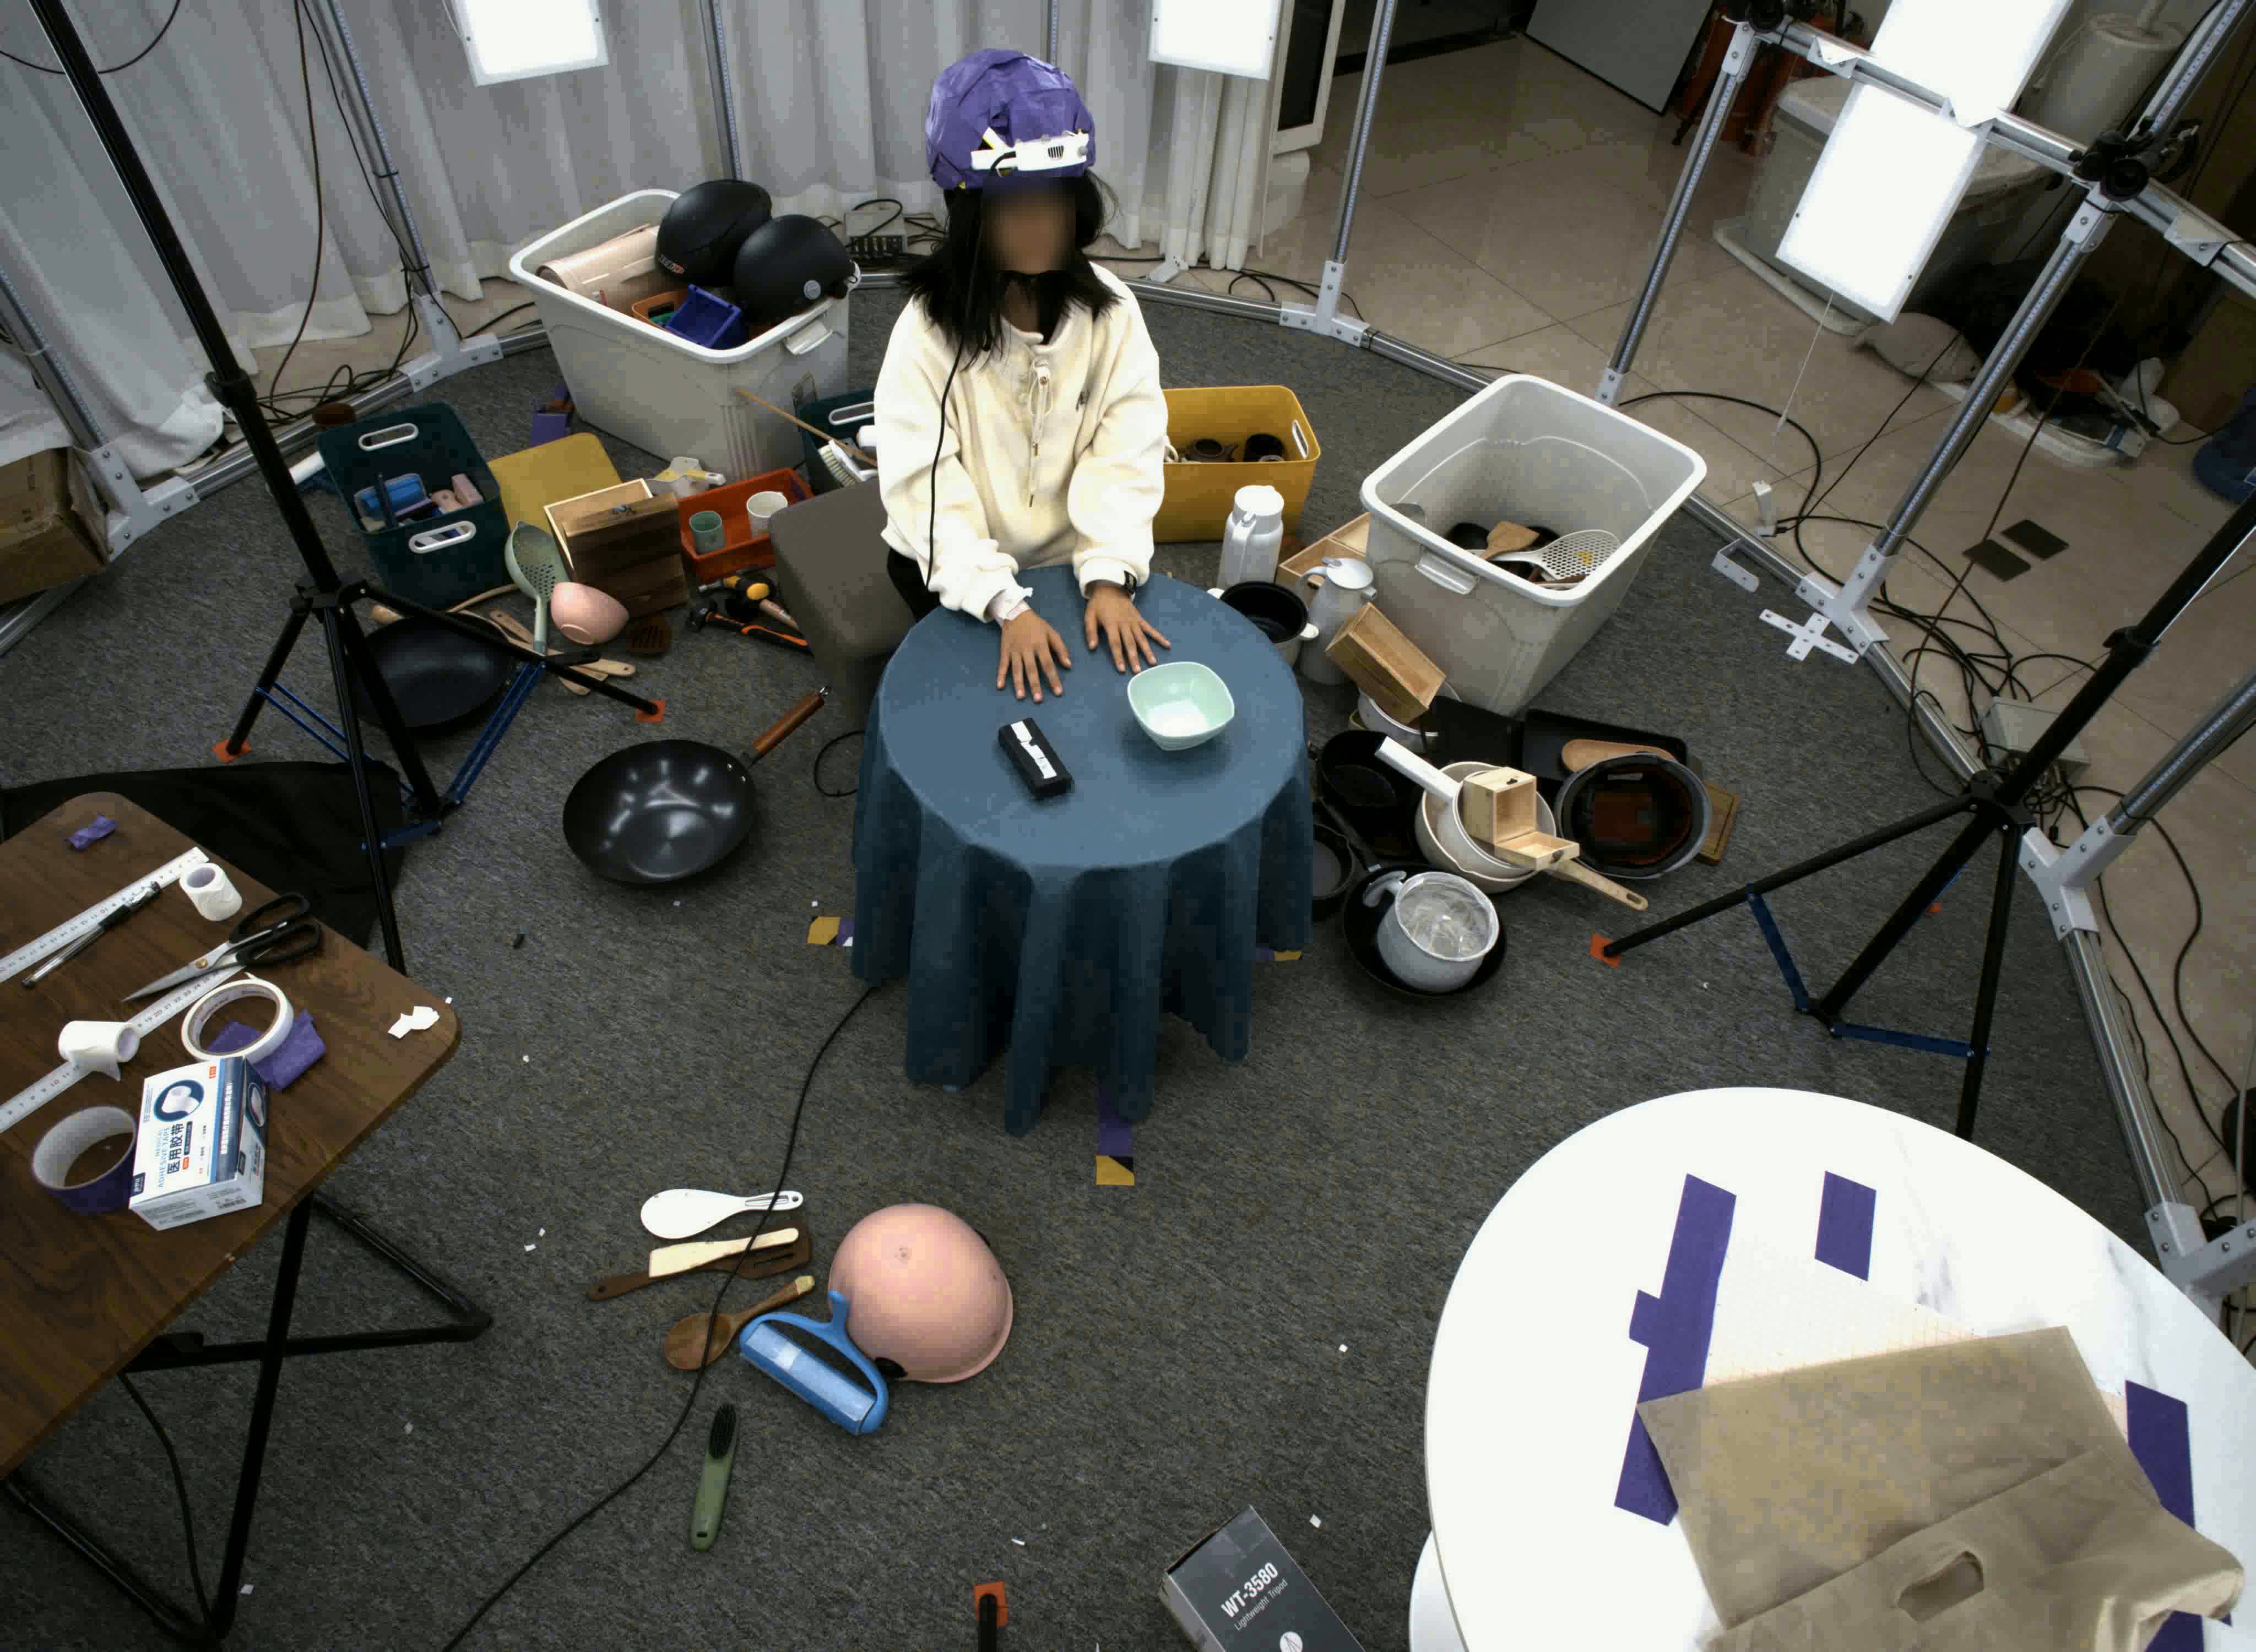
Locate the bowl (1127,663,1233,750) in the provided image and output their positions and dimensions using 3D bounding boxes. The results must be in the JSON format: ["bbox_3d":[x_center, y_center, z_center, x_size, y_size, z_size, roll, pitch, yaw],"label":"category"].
[{"bbox_3d":[0.068,-0.157,1.774,0.151,0.057,0.155,4,49,-5],"label":"bowl"}]

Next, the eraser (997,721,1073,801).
[{"bbox_3d":[-0.126,-0.089,1.721,0.053,0.030,0.128,-20,51,-22],"label":"eraser"}]
